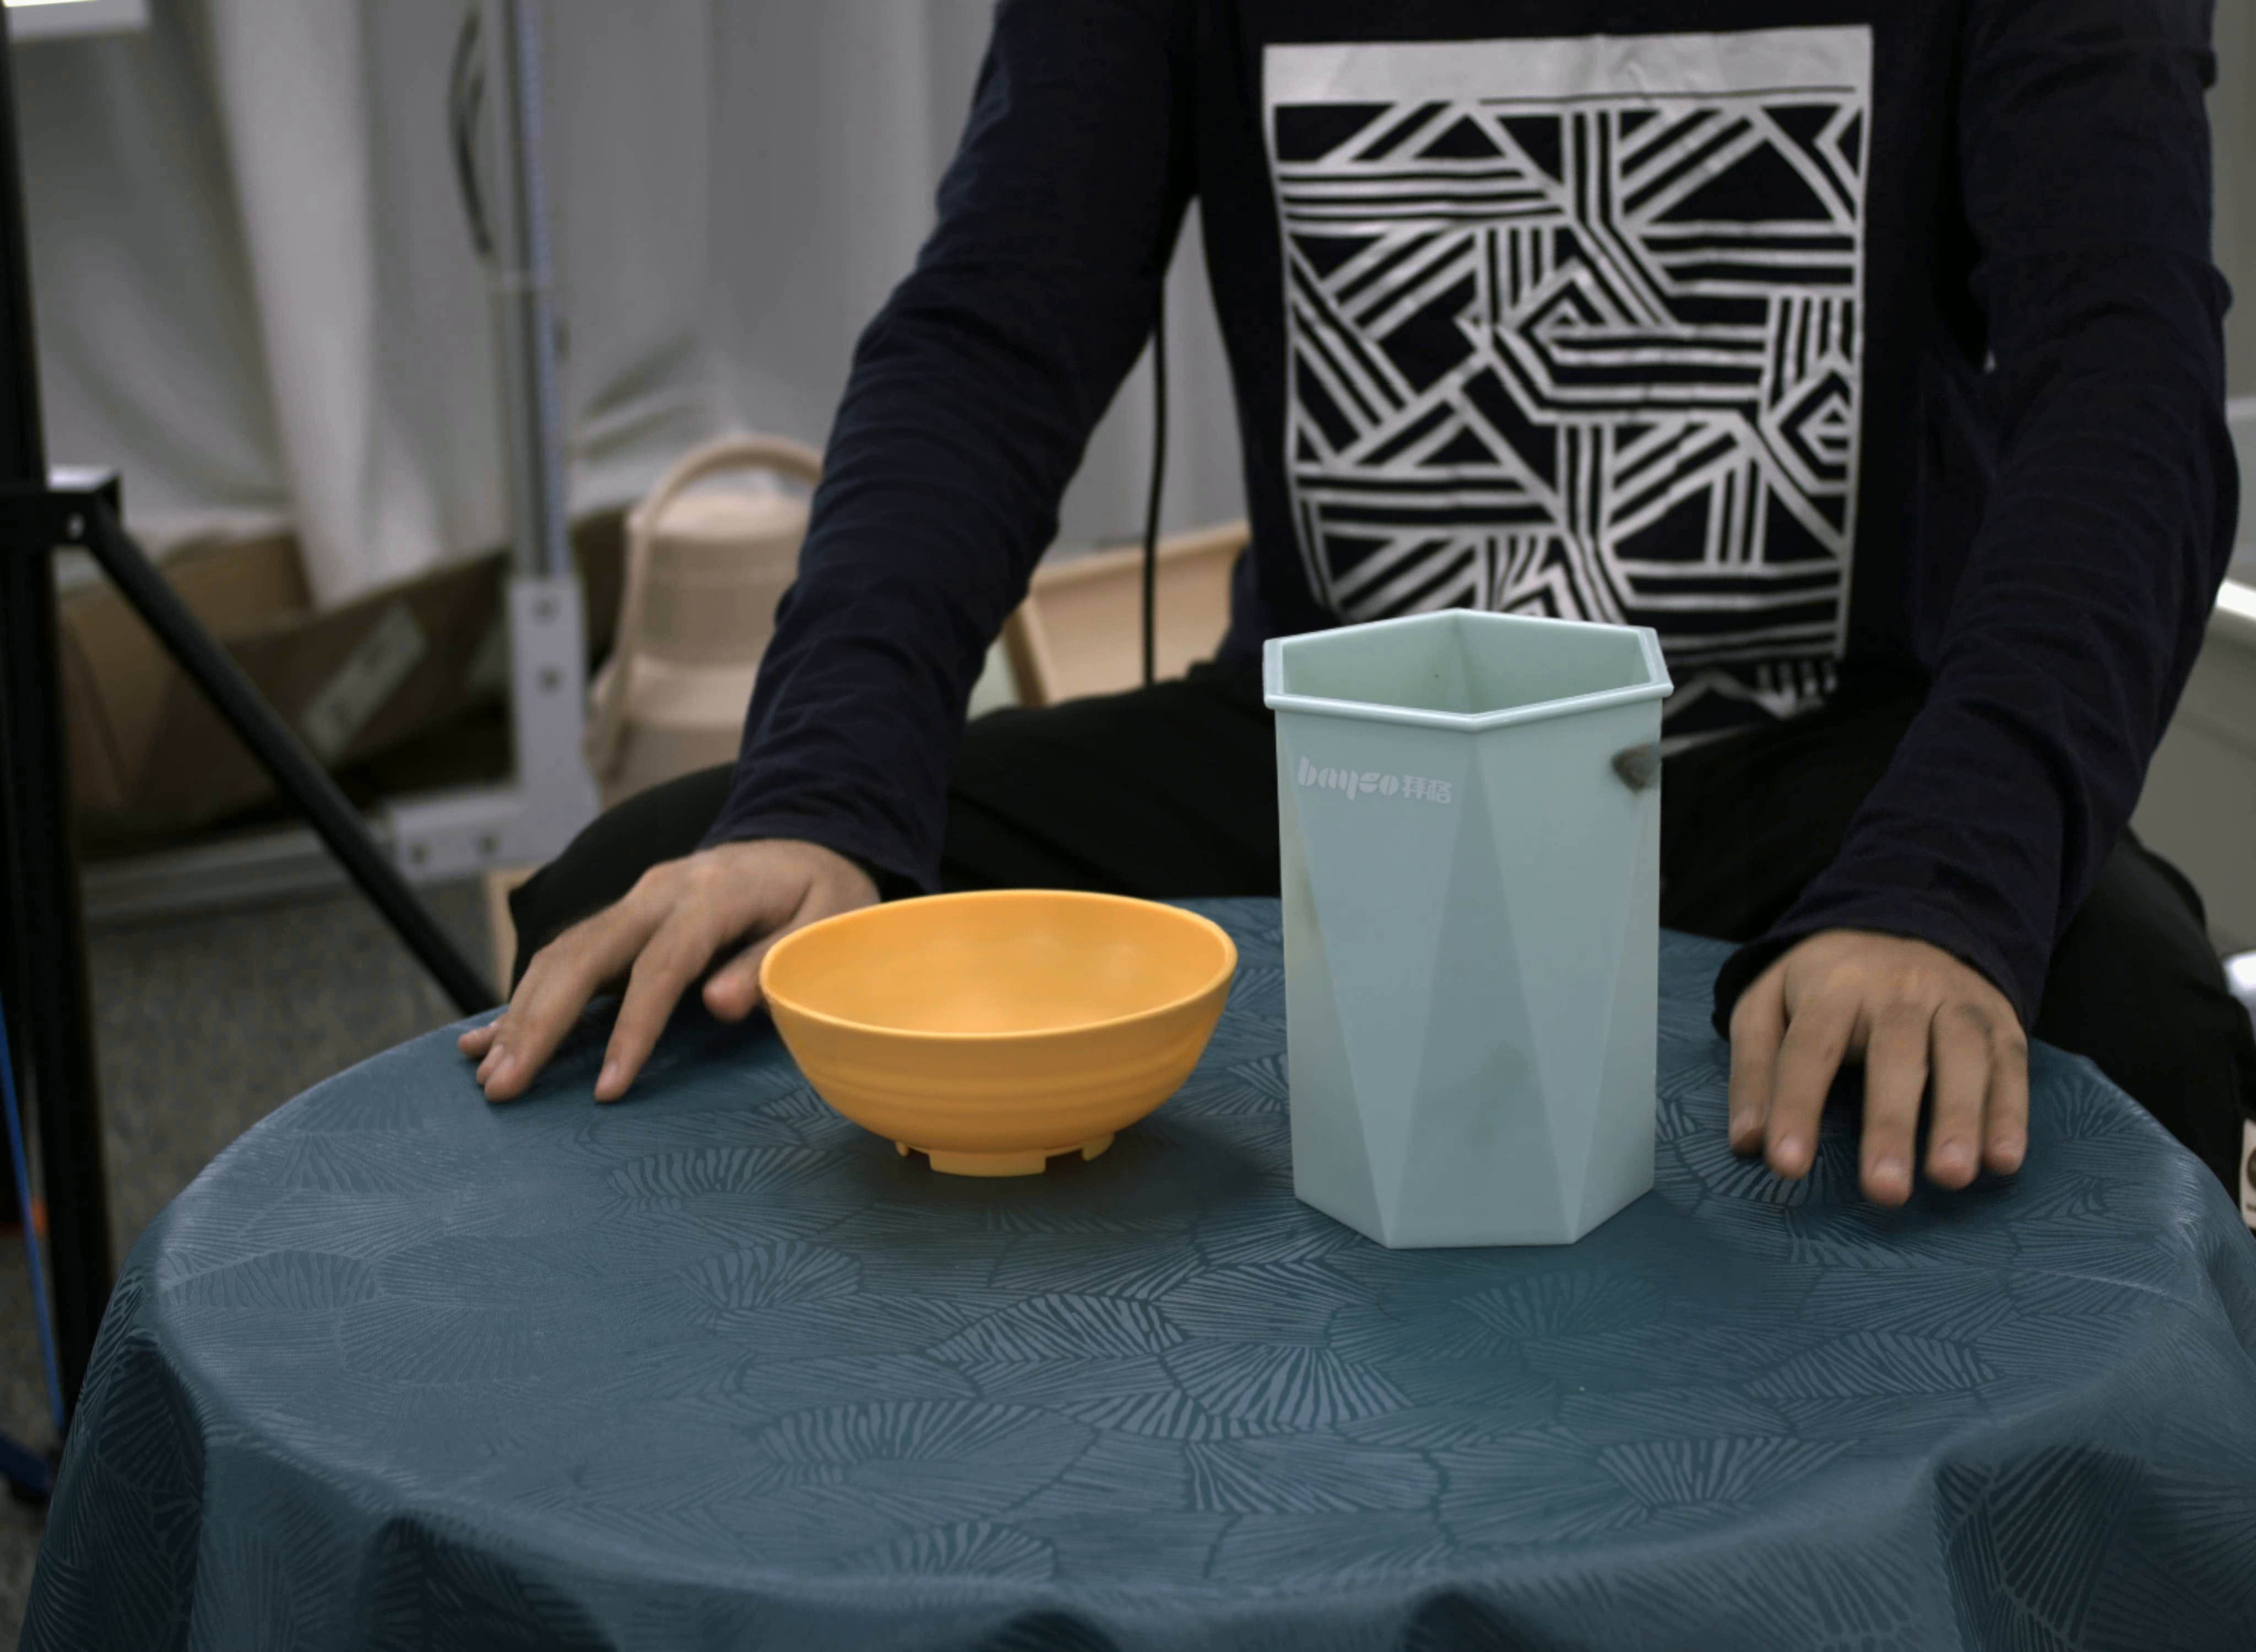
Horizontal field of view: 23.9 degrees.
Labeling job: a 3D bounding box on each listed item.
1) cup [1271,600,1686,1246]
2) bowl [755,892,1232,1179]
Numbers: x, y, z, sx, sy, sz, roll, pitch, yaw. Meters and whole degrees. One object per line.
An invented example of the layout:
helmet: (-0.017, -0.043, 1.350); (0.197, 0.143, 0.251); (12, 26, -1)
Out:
cup: (0.099, 0.029, 1.524); (0.133, 0.163, 0.113); (8, 17, 30)
bowl: (-0.040, 0.068, 1.605); (0.144, 0.060, 0.146); (-1, 15, -1)
